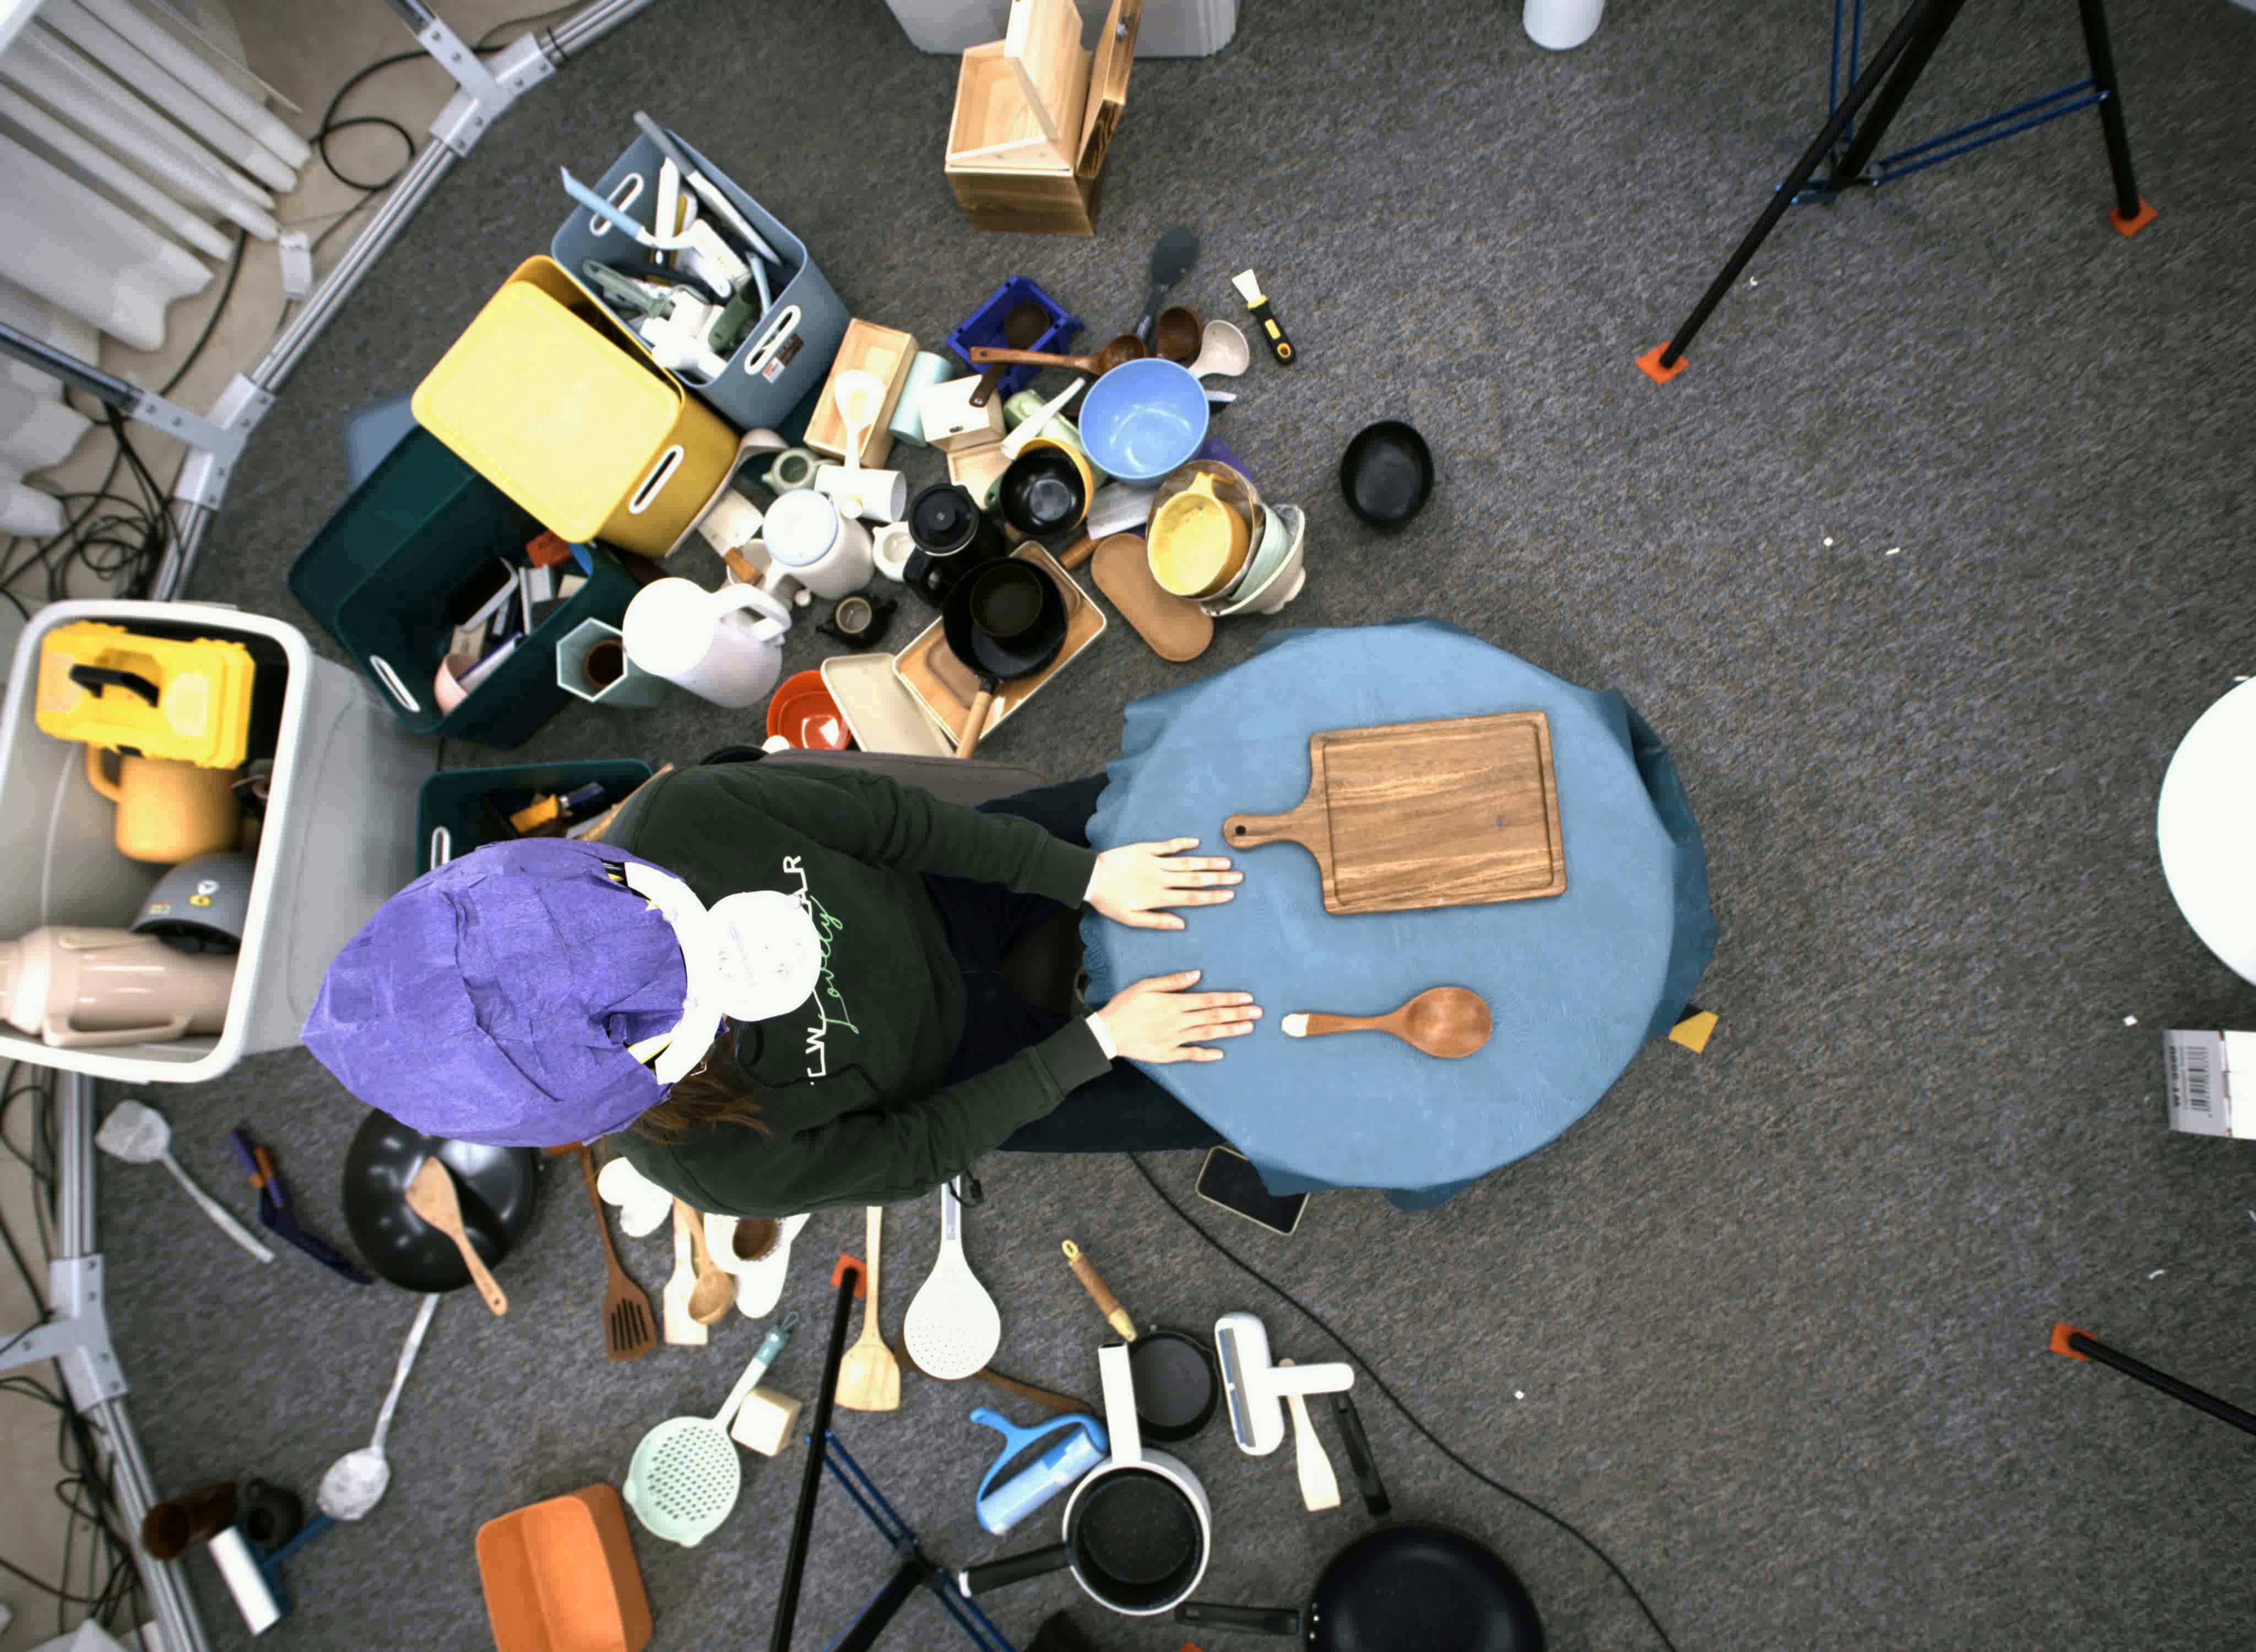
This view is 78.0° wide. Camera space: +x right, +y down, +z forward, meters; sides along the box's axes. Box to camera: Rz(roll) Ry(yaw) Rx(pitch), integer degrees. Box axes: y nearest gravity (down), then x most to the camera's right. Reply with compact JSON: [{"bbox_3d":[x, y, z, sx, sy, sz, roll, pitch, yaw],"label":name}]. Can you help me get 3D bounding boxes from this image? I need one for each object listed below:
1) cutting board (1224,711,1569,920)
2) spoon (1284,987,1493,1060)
[{"bbox_3d":[0.277,-0.007,1.460,0.354,0.023,0.200,-6,86,10],"label":"cutting board"},{"bbox_3d":[0.271,0.206,1.446,0.217,0.017,0.075,-3,87,10],"label":"spoon"}]
